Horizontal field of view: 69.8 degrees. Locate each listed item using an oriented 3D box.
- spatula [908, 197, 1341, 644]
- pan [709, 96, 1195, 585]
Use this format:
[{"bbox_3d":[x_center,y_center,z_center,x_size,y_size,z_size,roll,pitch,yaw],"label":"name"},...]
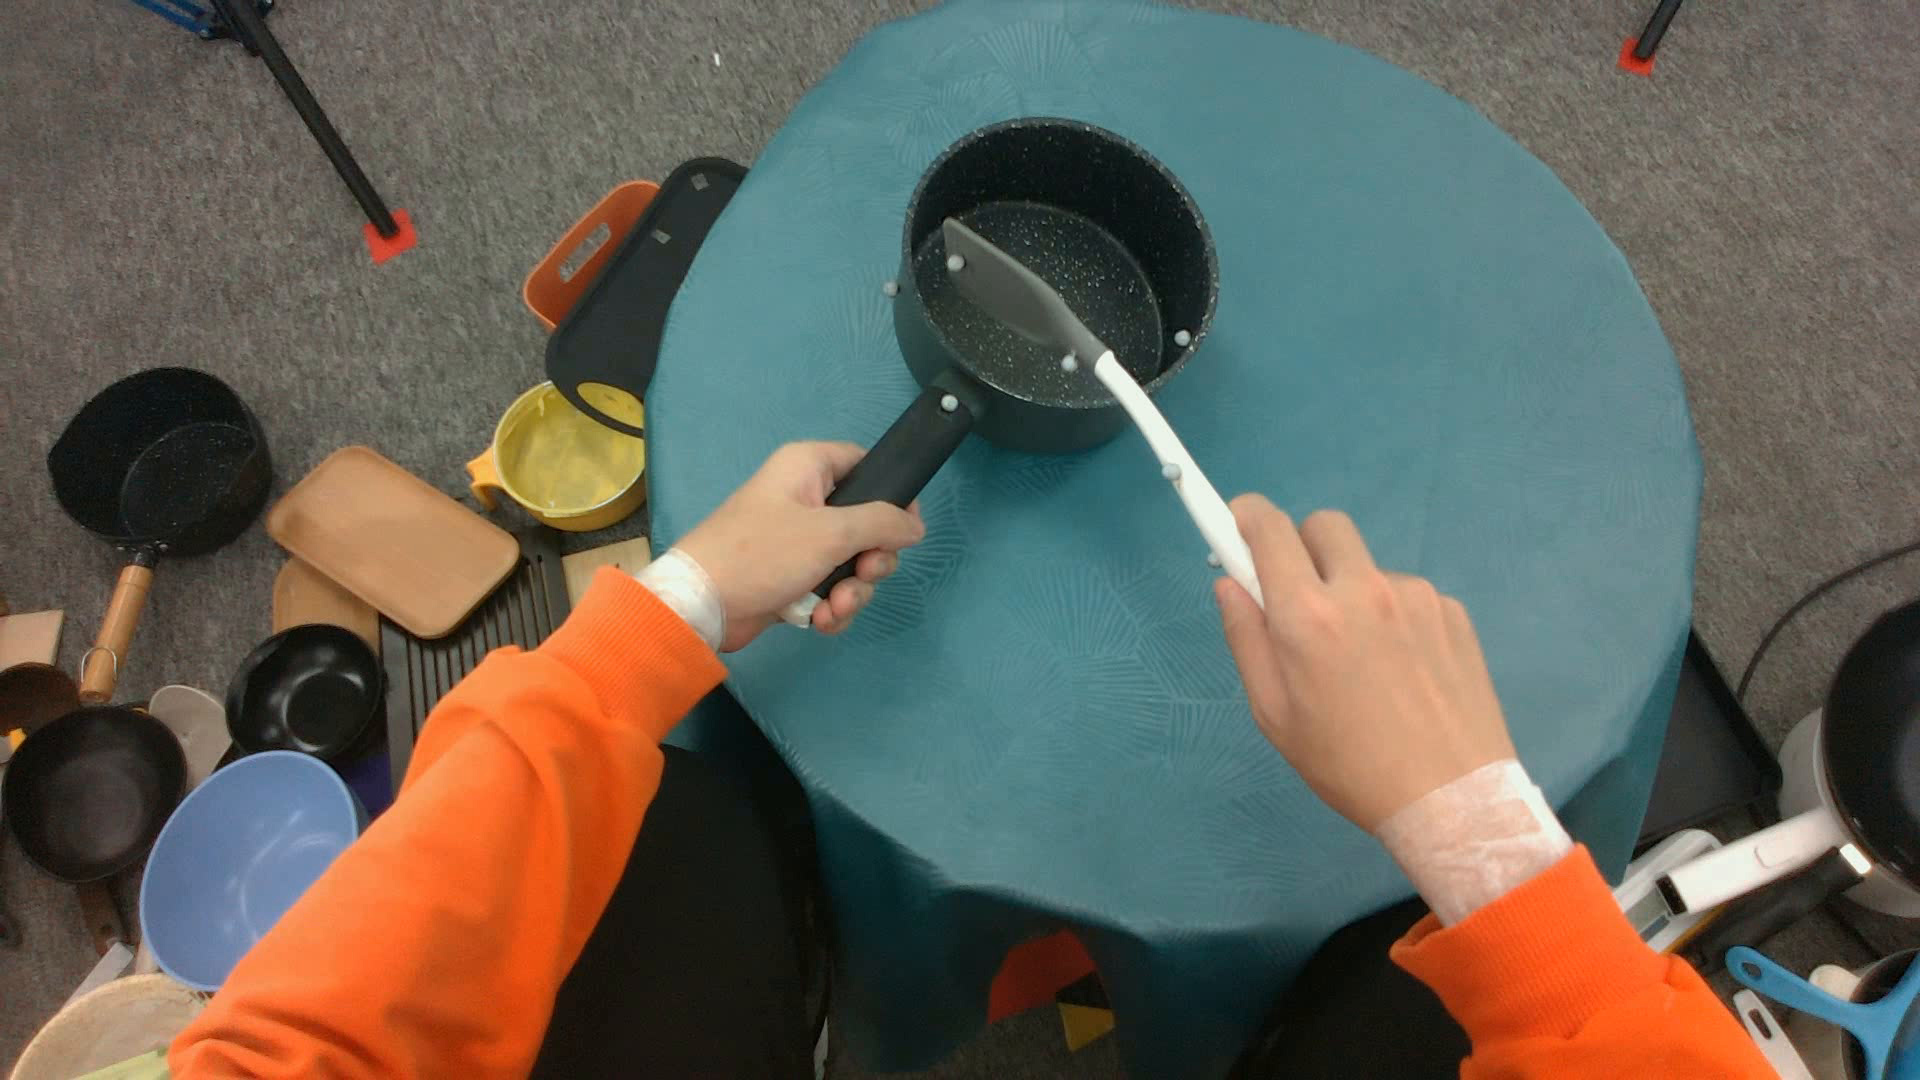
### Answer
[{"bbox_3d":[0.065,-0.065,0.636,0.032,0.058,0.288,-35,62,-10],"label":"spatula"},{"bbox_3d":[-0.011,-0.092,0.721,0.172,0.086,0.330,38,66,4],"label":"pan"}]
